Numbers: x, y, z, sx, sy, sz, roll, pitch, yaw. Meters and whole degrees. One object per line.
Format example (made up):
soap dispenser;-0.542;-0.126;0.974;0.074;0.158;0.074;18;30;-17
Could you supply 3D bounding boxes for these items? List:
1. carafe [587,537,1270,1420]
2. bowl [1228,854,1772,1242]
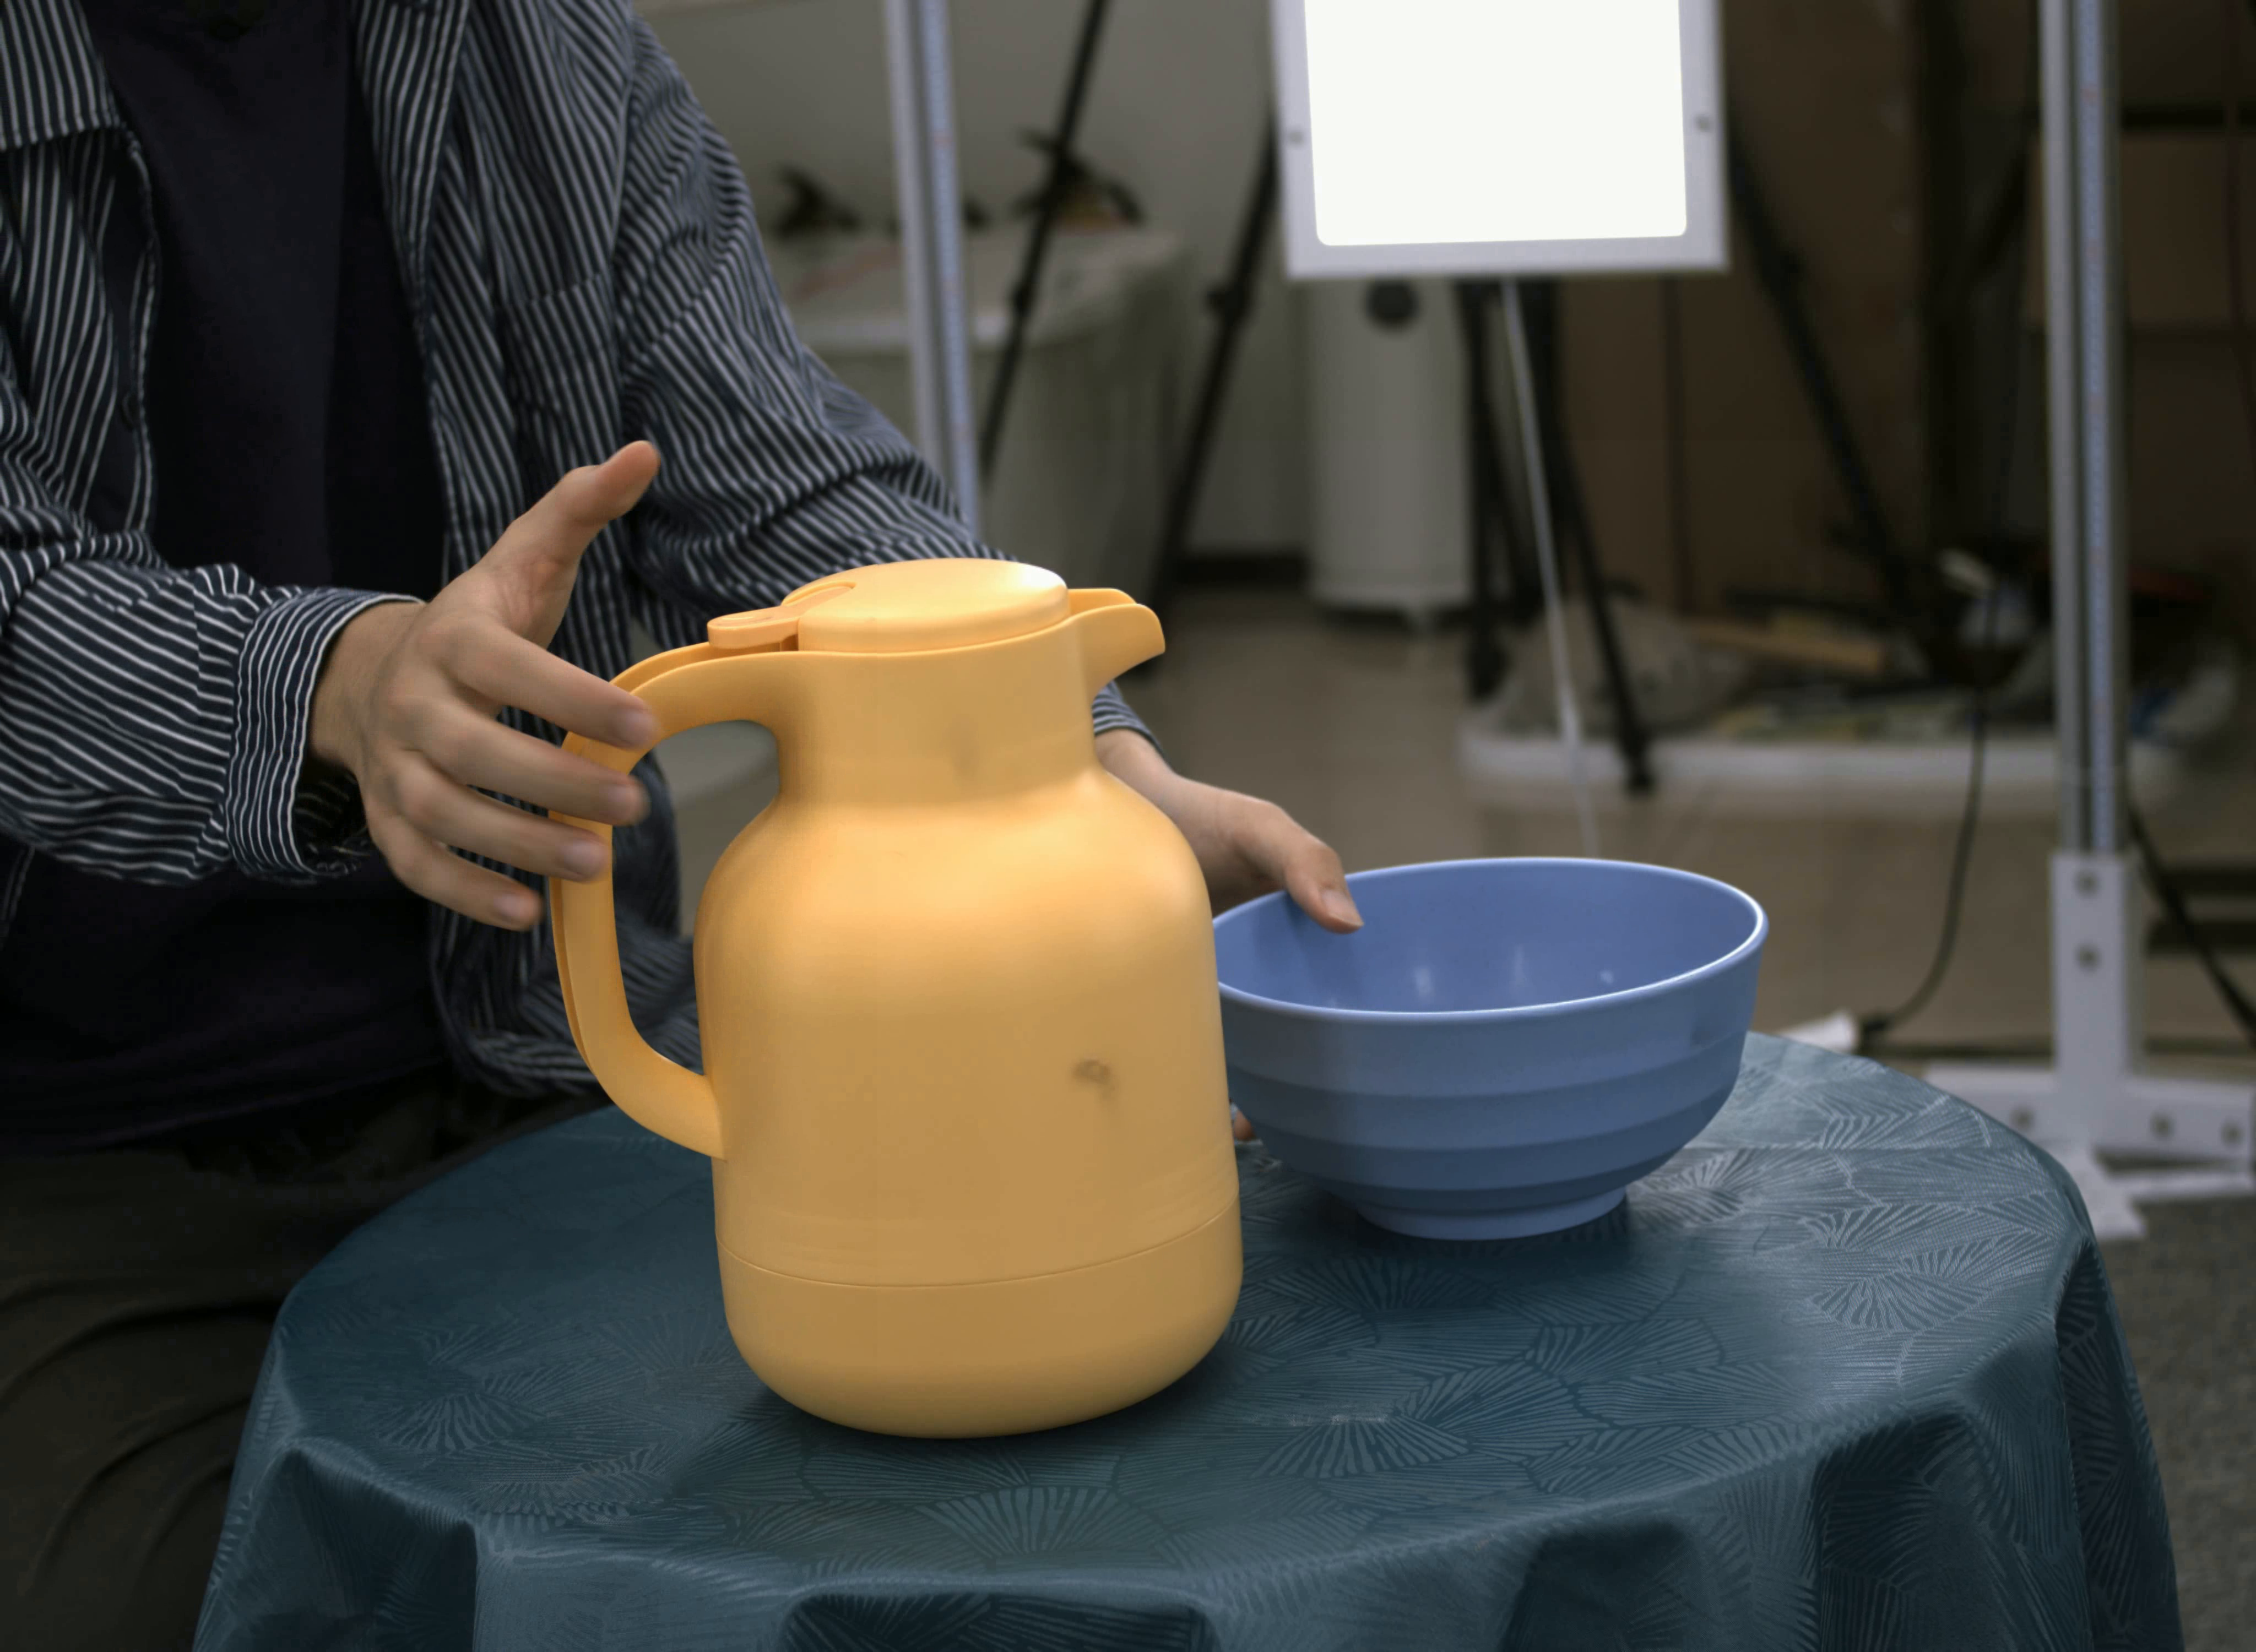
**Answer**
carafe;-0.062;0.045;1.698;0.200;0.261;0.165;-8;15;-13
bowl;0.120;0.080;1.839;0.196;0.096;0.196;-5;14;0
